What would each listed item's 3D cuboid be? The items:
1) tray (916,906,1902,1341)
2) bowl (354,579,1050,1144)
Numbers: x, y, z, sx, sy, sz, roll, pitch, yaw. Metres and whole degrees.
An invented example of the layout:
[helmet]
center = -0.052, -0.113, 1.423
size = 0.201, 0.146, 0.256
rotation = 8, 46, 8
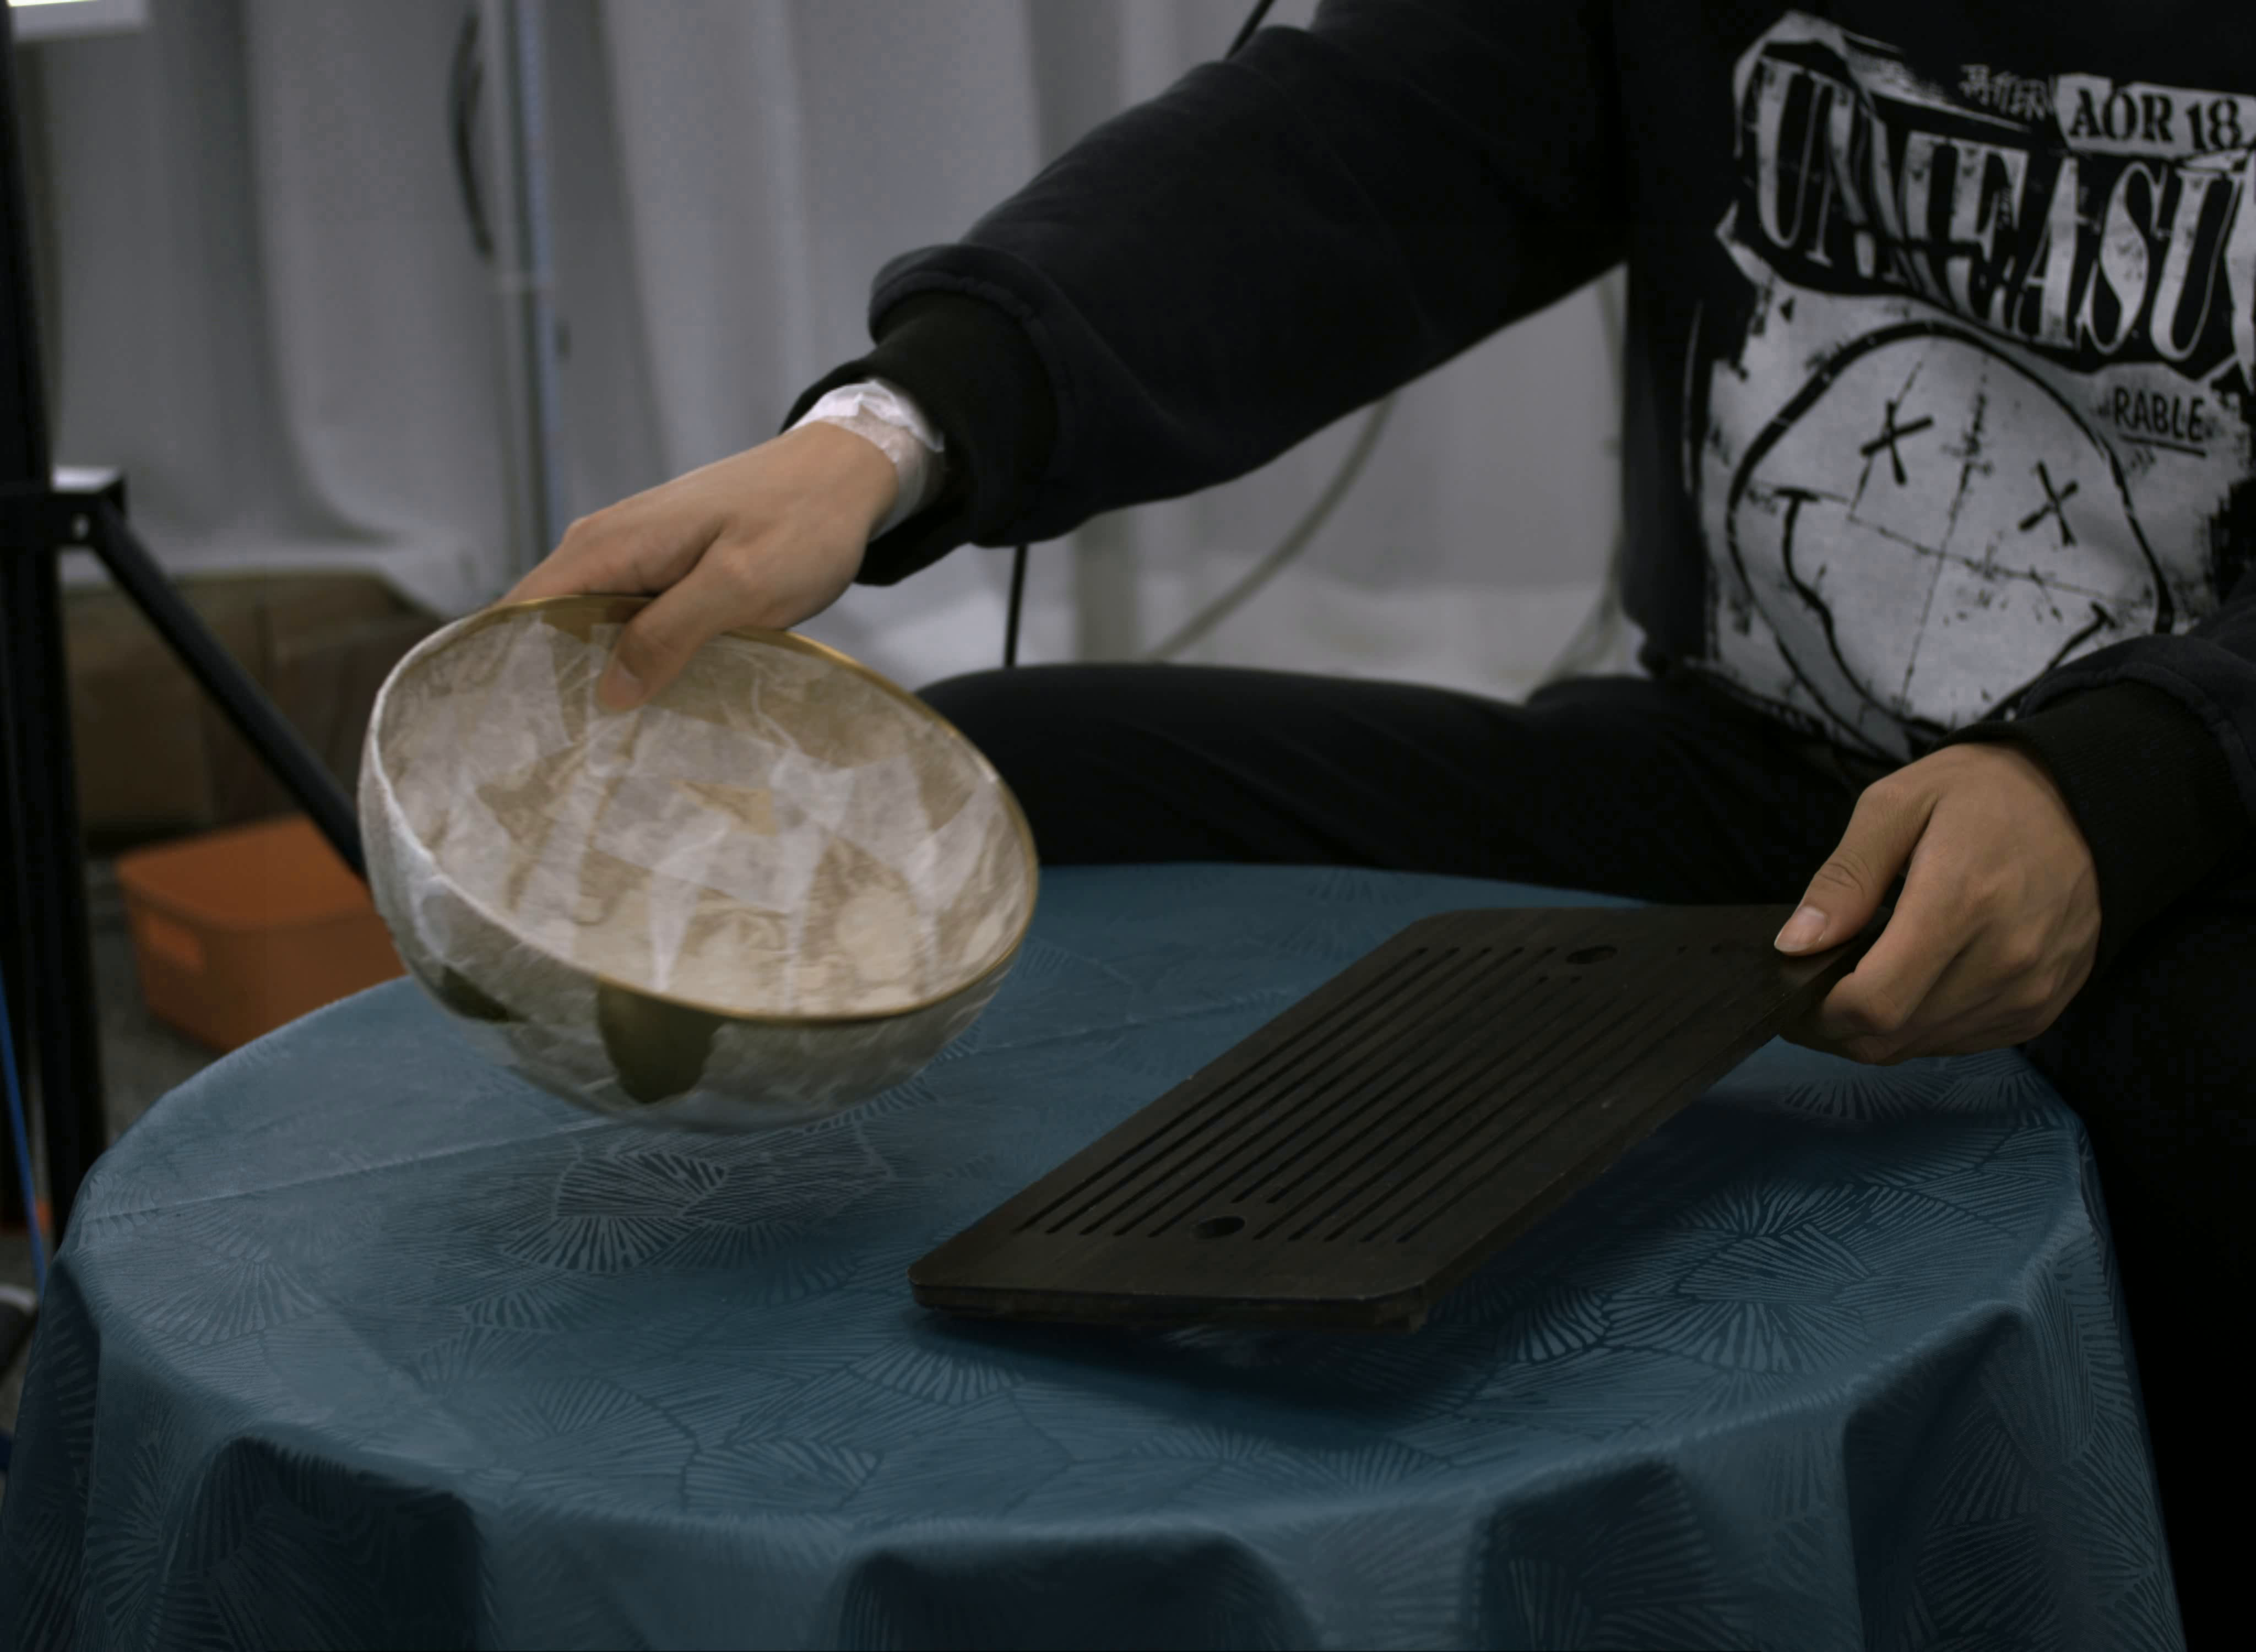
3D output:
[tray]
center = 0.087, 0.083, 1.520
size = 0.173, 0.018, 0.300
rotation = -1, 18, 36
[bowl]
center = -0.134, 0.028, 1.582
size = 0.212, 0.095, 0.217
rotation = 13, 34, -11
